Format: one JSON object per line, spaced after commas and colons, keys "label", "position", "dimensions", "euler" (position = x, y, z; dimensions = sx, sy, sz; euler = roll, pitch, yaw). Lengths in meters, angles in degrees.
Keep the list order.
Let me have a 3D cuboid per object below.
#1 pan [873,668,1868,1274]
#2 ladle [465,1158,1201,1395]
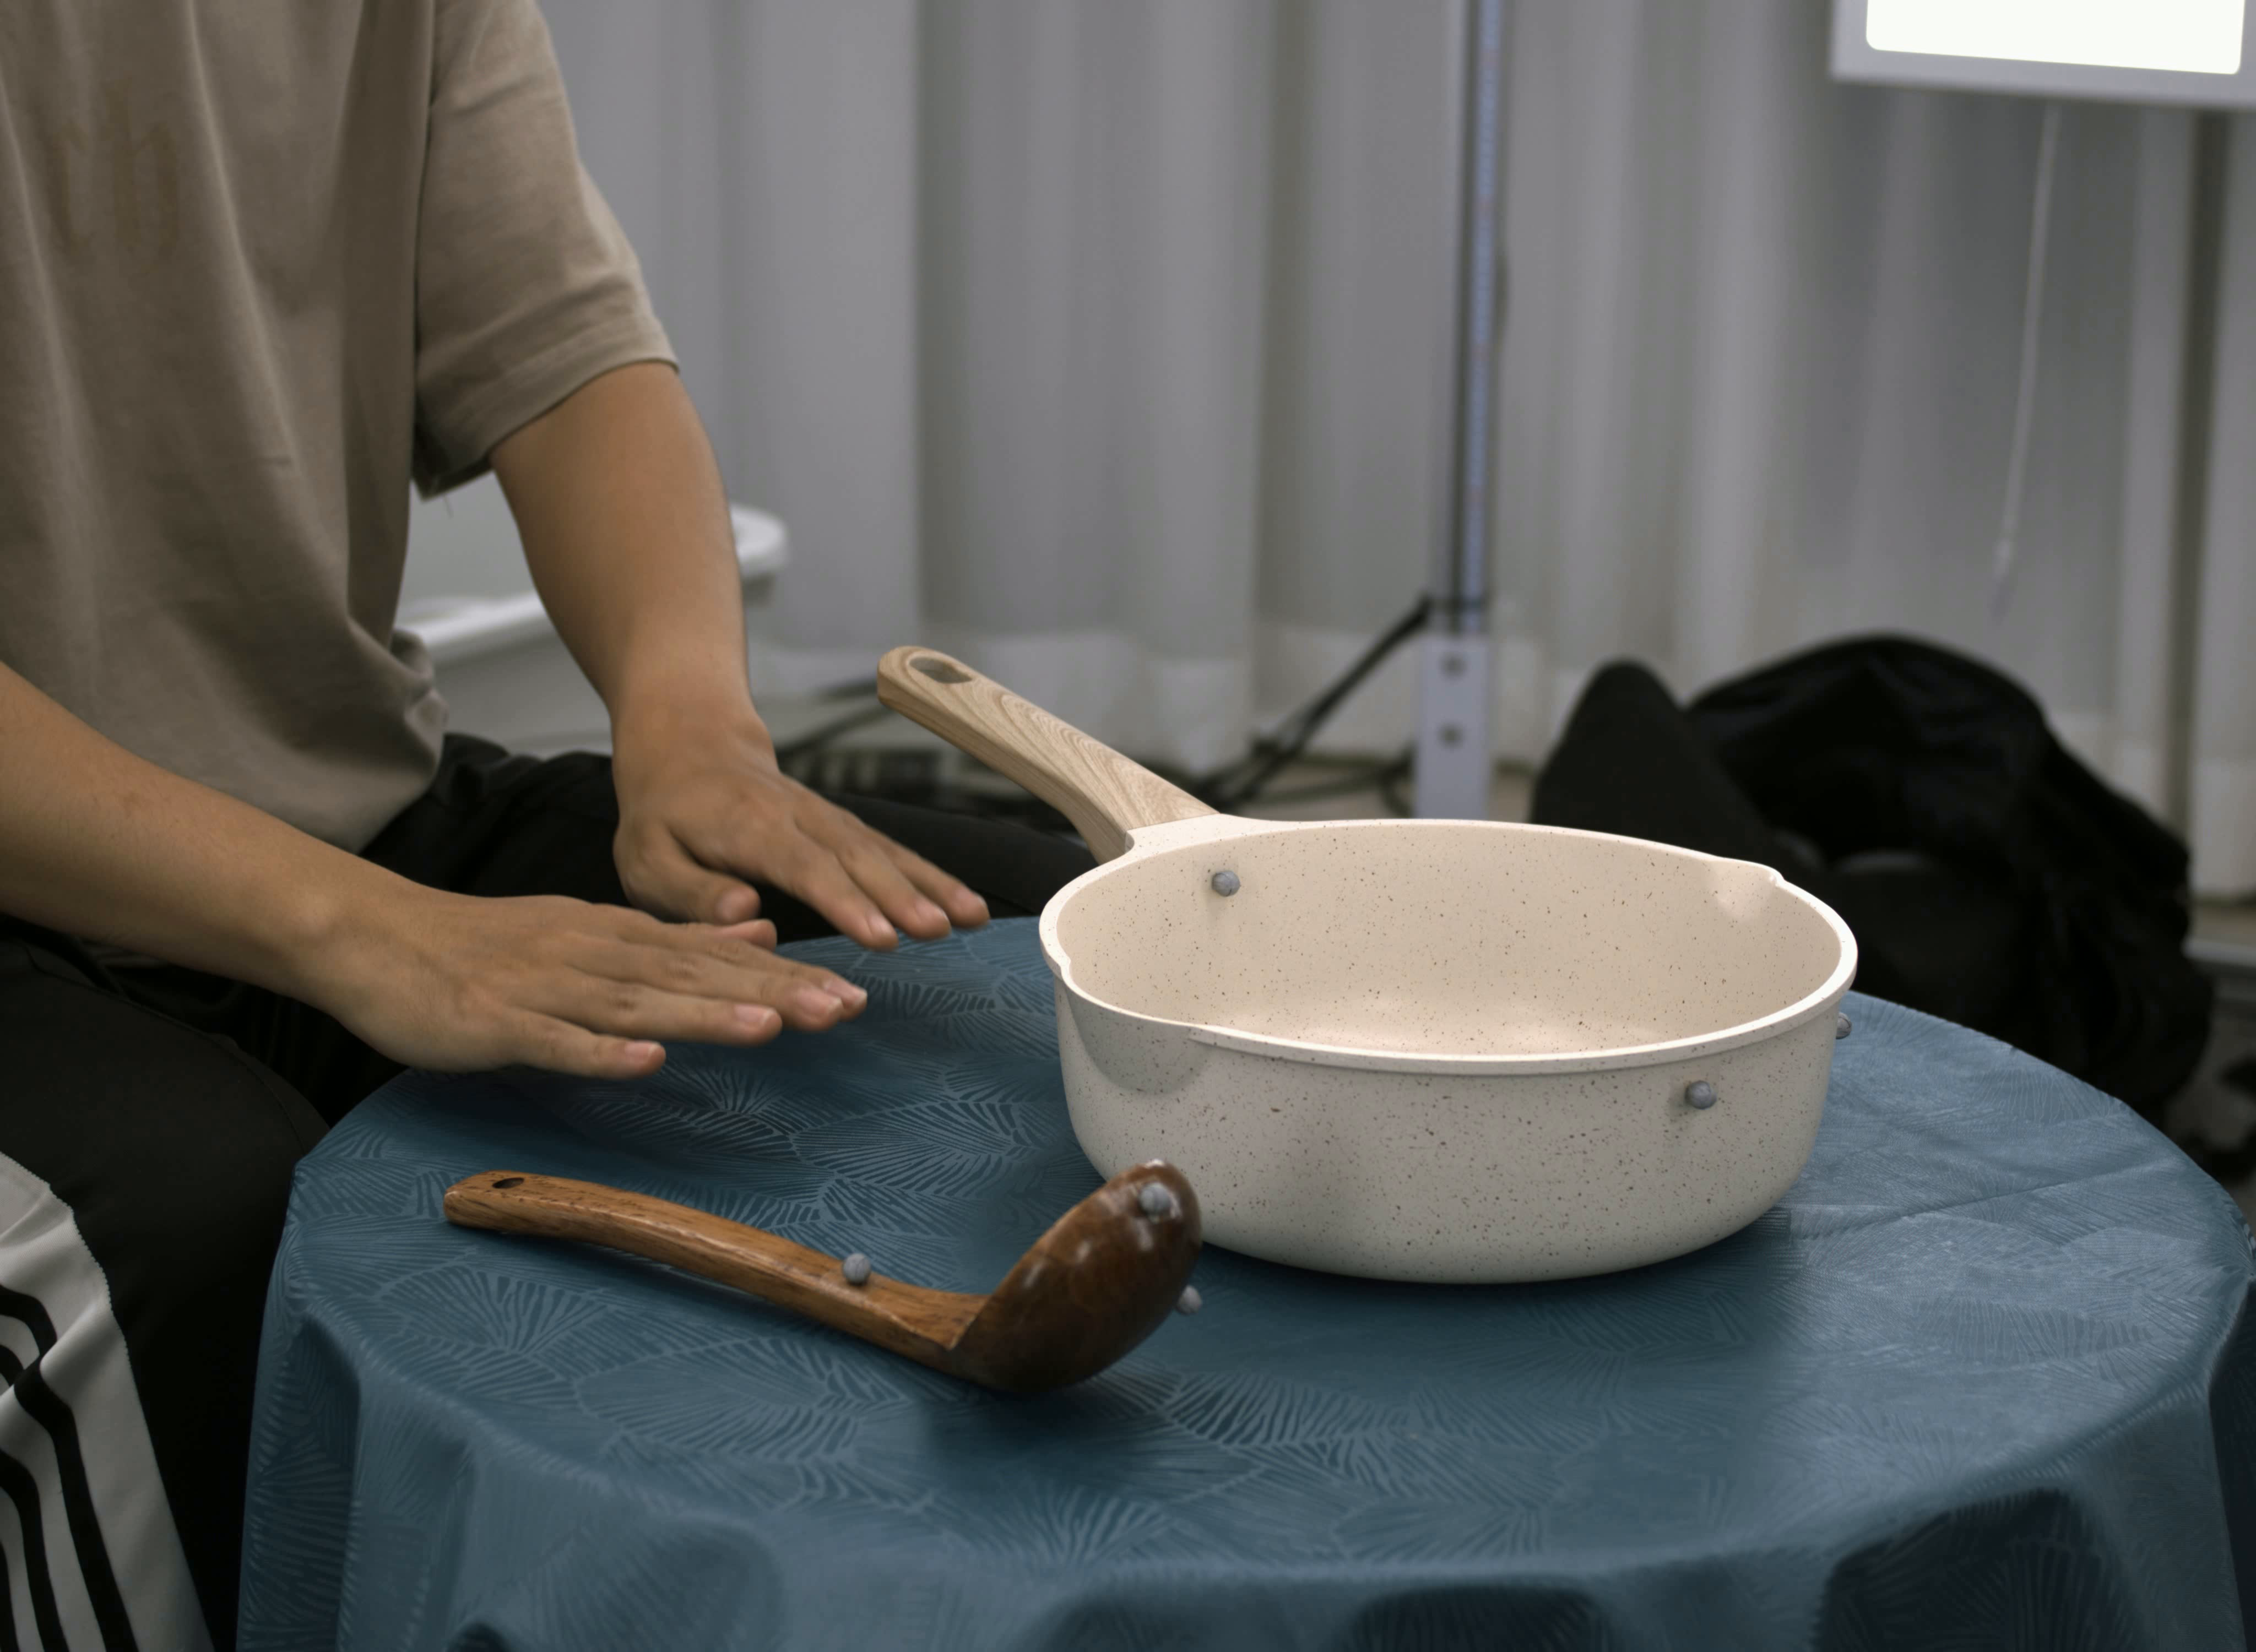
{"label": "pan", "position": [0.048, 0.041, 1.699], "dimensions": [0.264, 0.103, 0.429], "euler": [-12, 20, -34]}
{"label": "ladle", "position": [-0.095, 0.105, 1.501], "dimensions": [0.270, 0.077, 0.082], "euler": [14, 23, 38]}
